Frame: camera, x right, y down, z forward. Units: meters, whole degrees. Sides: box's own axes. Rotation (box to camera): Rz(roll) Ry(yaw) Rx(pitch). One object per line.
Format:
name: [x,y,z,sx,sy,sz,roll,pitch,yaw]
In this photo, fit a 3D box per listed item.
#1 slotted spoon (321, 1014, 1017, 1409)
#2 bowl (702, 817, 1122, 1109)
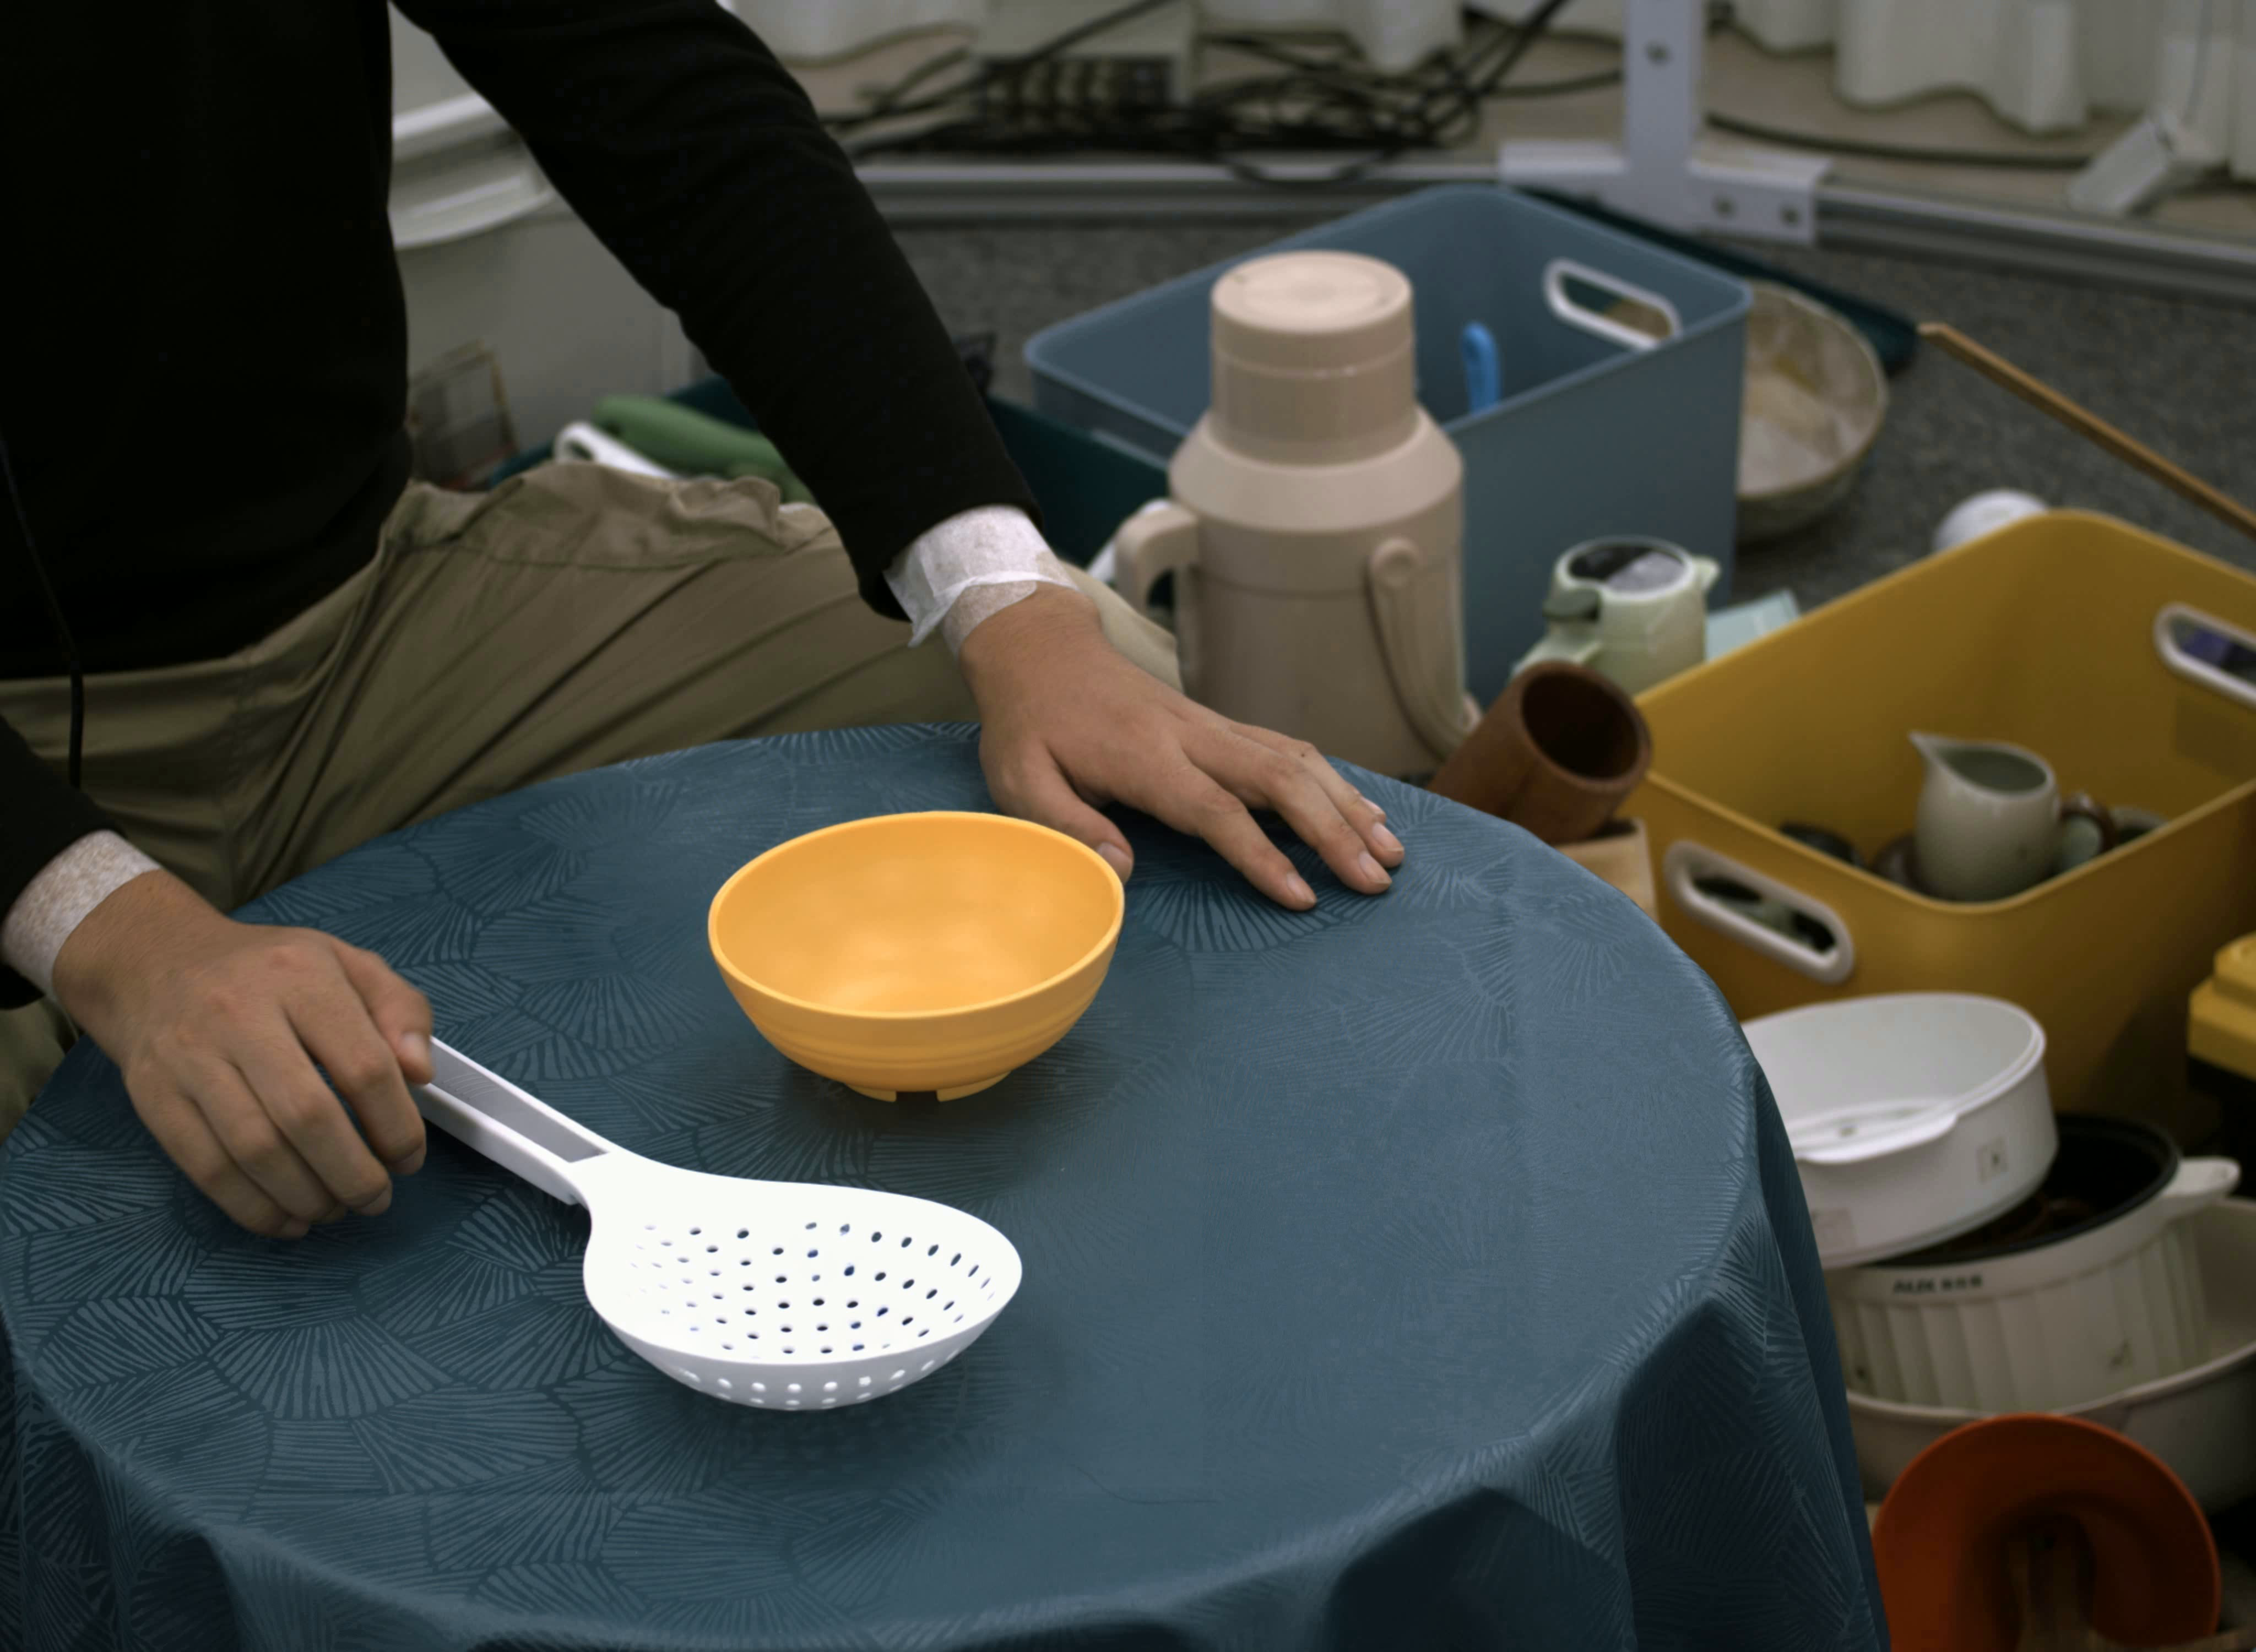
slotted spoon: [-0.168,0.119,1.833,0.137,0.045,0.350,-15,28,-35]
bowl: [-0.073,0.056,1.936,0.144,0.059,0.147,-1,27,1]
